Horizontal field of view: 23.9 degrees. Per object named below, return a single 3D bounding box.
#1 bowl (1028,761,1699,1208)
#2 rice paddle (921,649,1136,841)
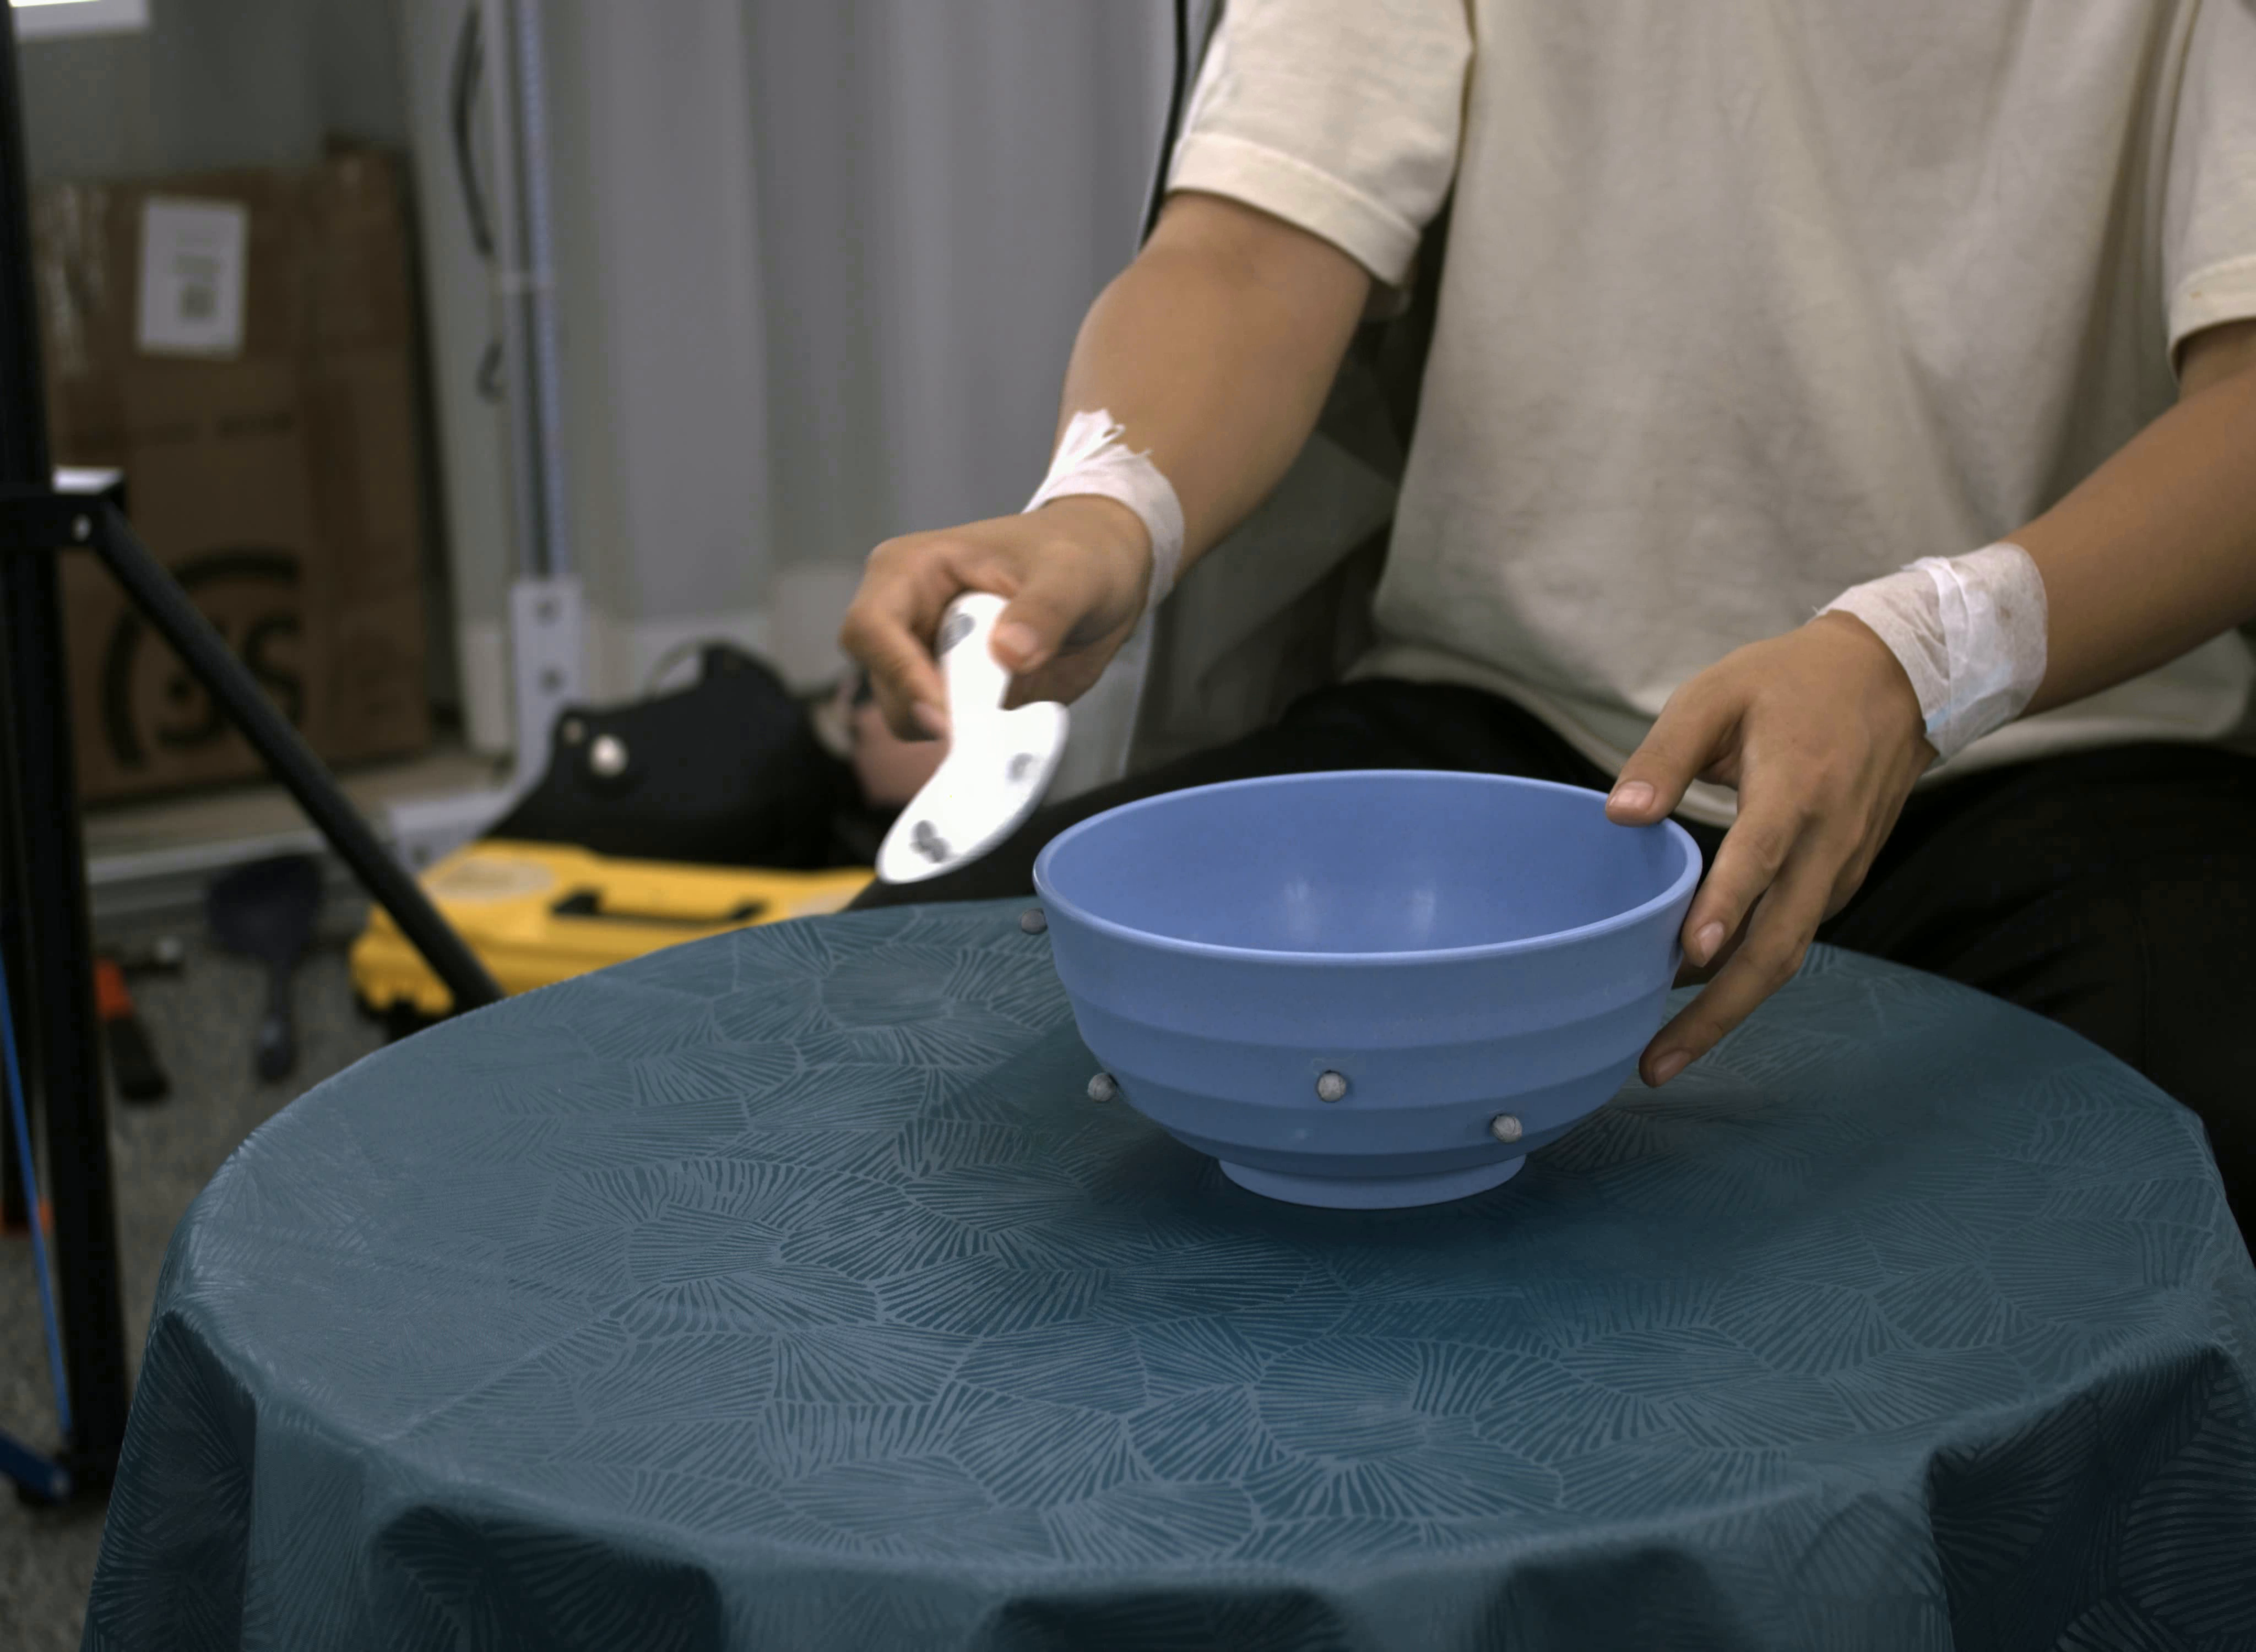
[{"bbox_3d":[0.071,0.052,1.563,0.195,0.095,0.197,-4,17,0],"label":"bowl"},{"bbox_3d":[-0.036,-0.025,1.581,0.068,0.029,0.206,-28,12,-1],"label":"rice paddle"}]
